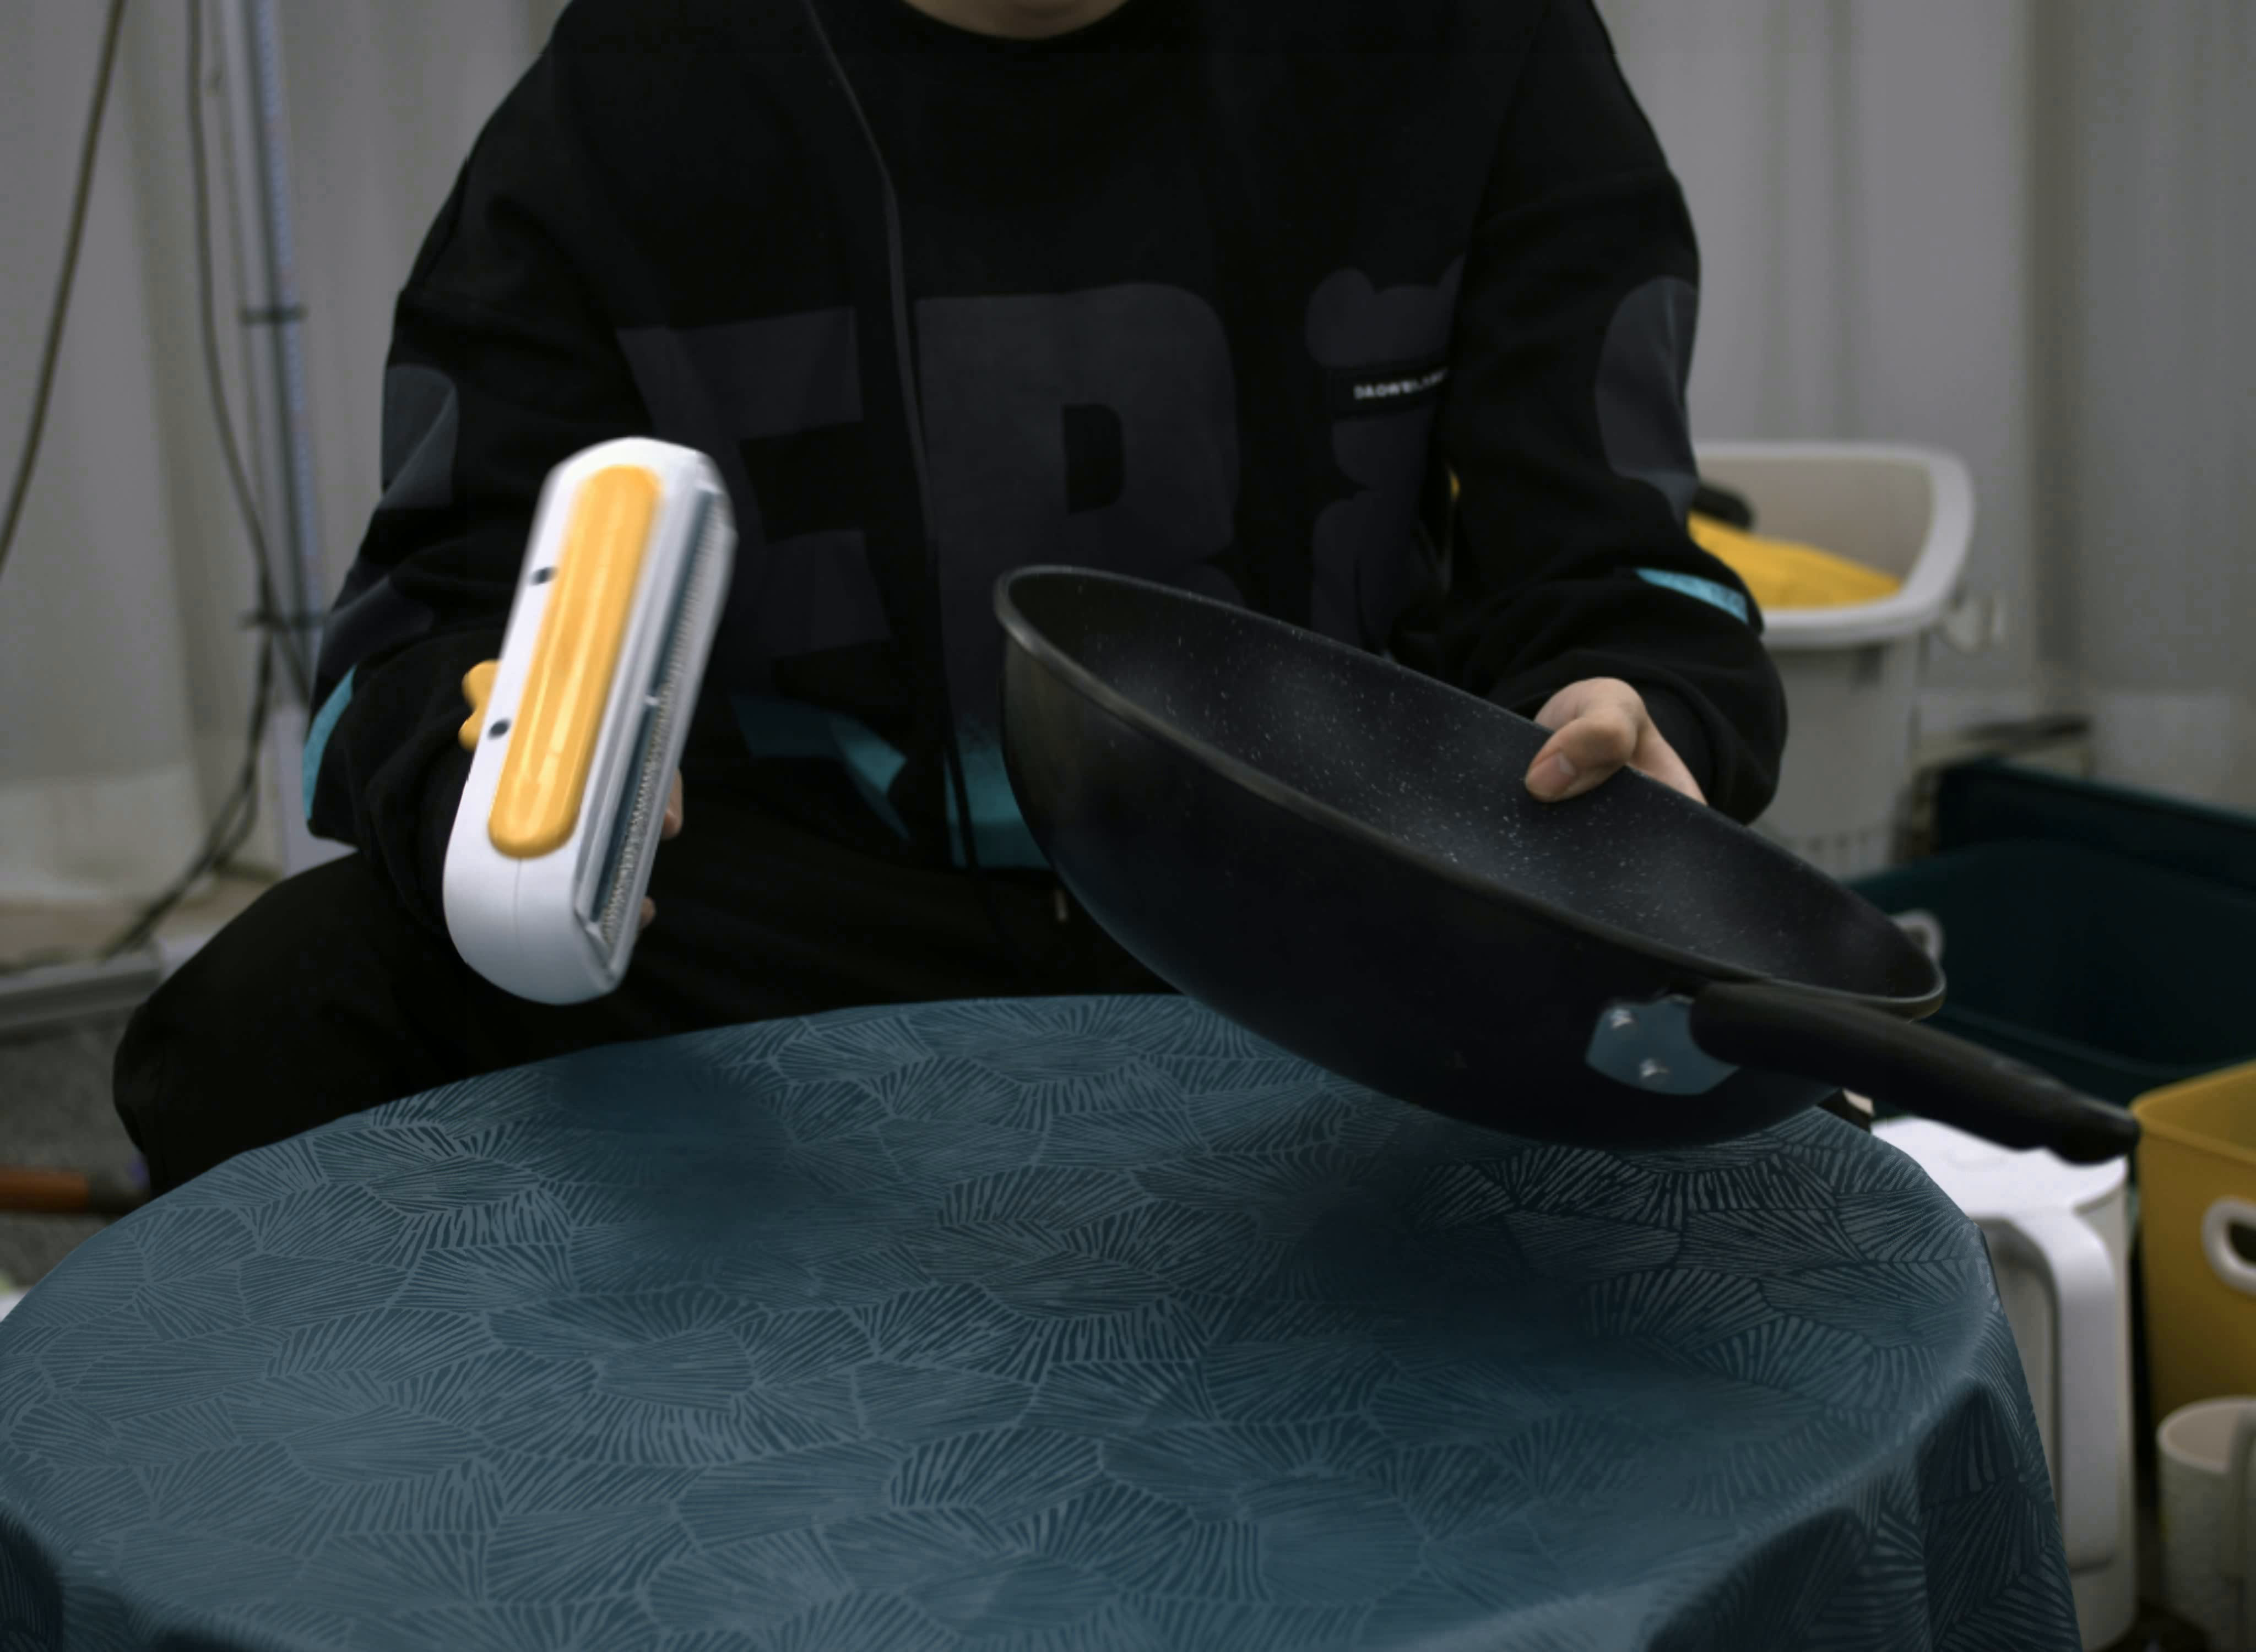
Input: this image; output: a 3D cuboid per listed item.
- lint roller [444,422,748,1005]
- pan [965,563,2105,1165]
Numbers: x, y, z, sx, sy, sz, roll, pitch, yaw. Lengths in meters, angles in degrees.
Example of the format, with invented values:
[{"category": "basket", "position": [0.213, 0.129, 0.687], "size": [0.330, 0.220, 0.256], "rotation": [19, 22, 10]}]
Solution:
[{"category": "lint roller", "position": [-0.171, -0.007, 1.764], "size": [0.074, 0.190, 0.195], "rotation": [7, 53, 5]}, {"category": "pan", "position": [0.120, 0.040, 1.574], "size": [0.307, 0.111, 0.482], "rotation": [15, 13, -30]}]
